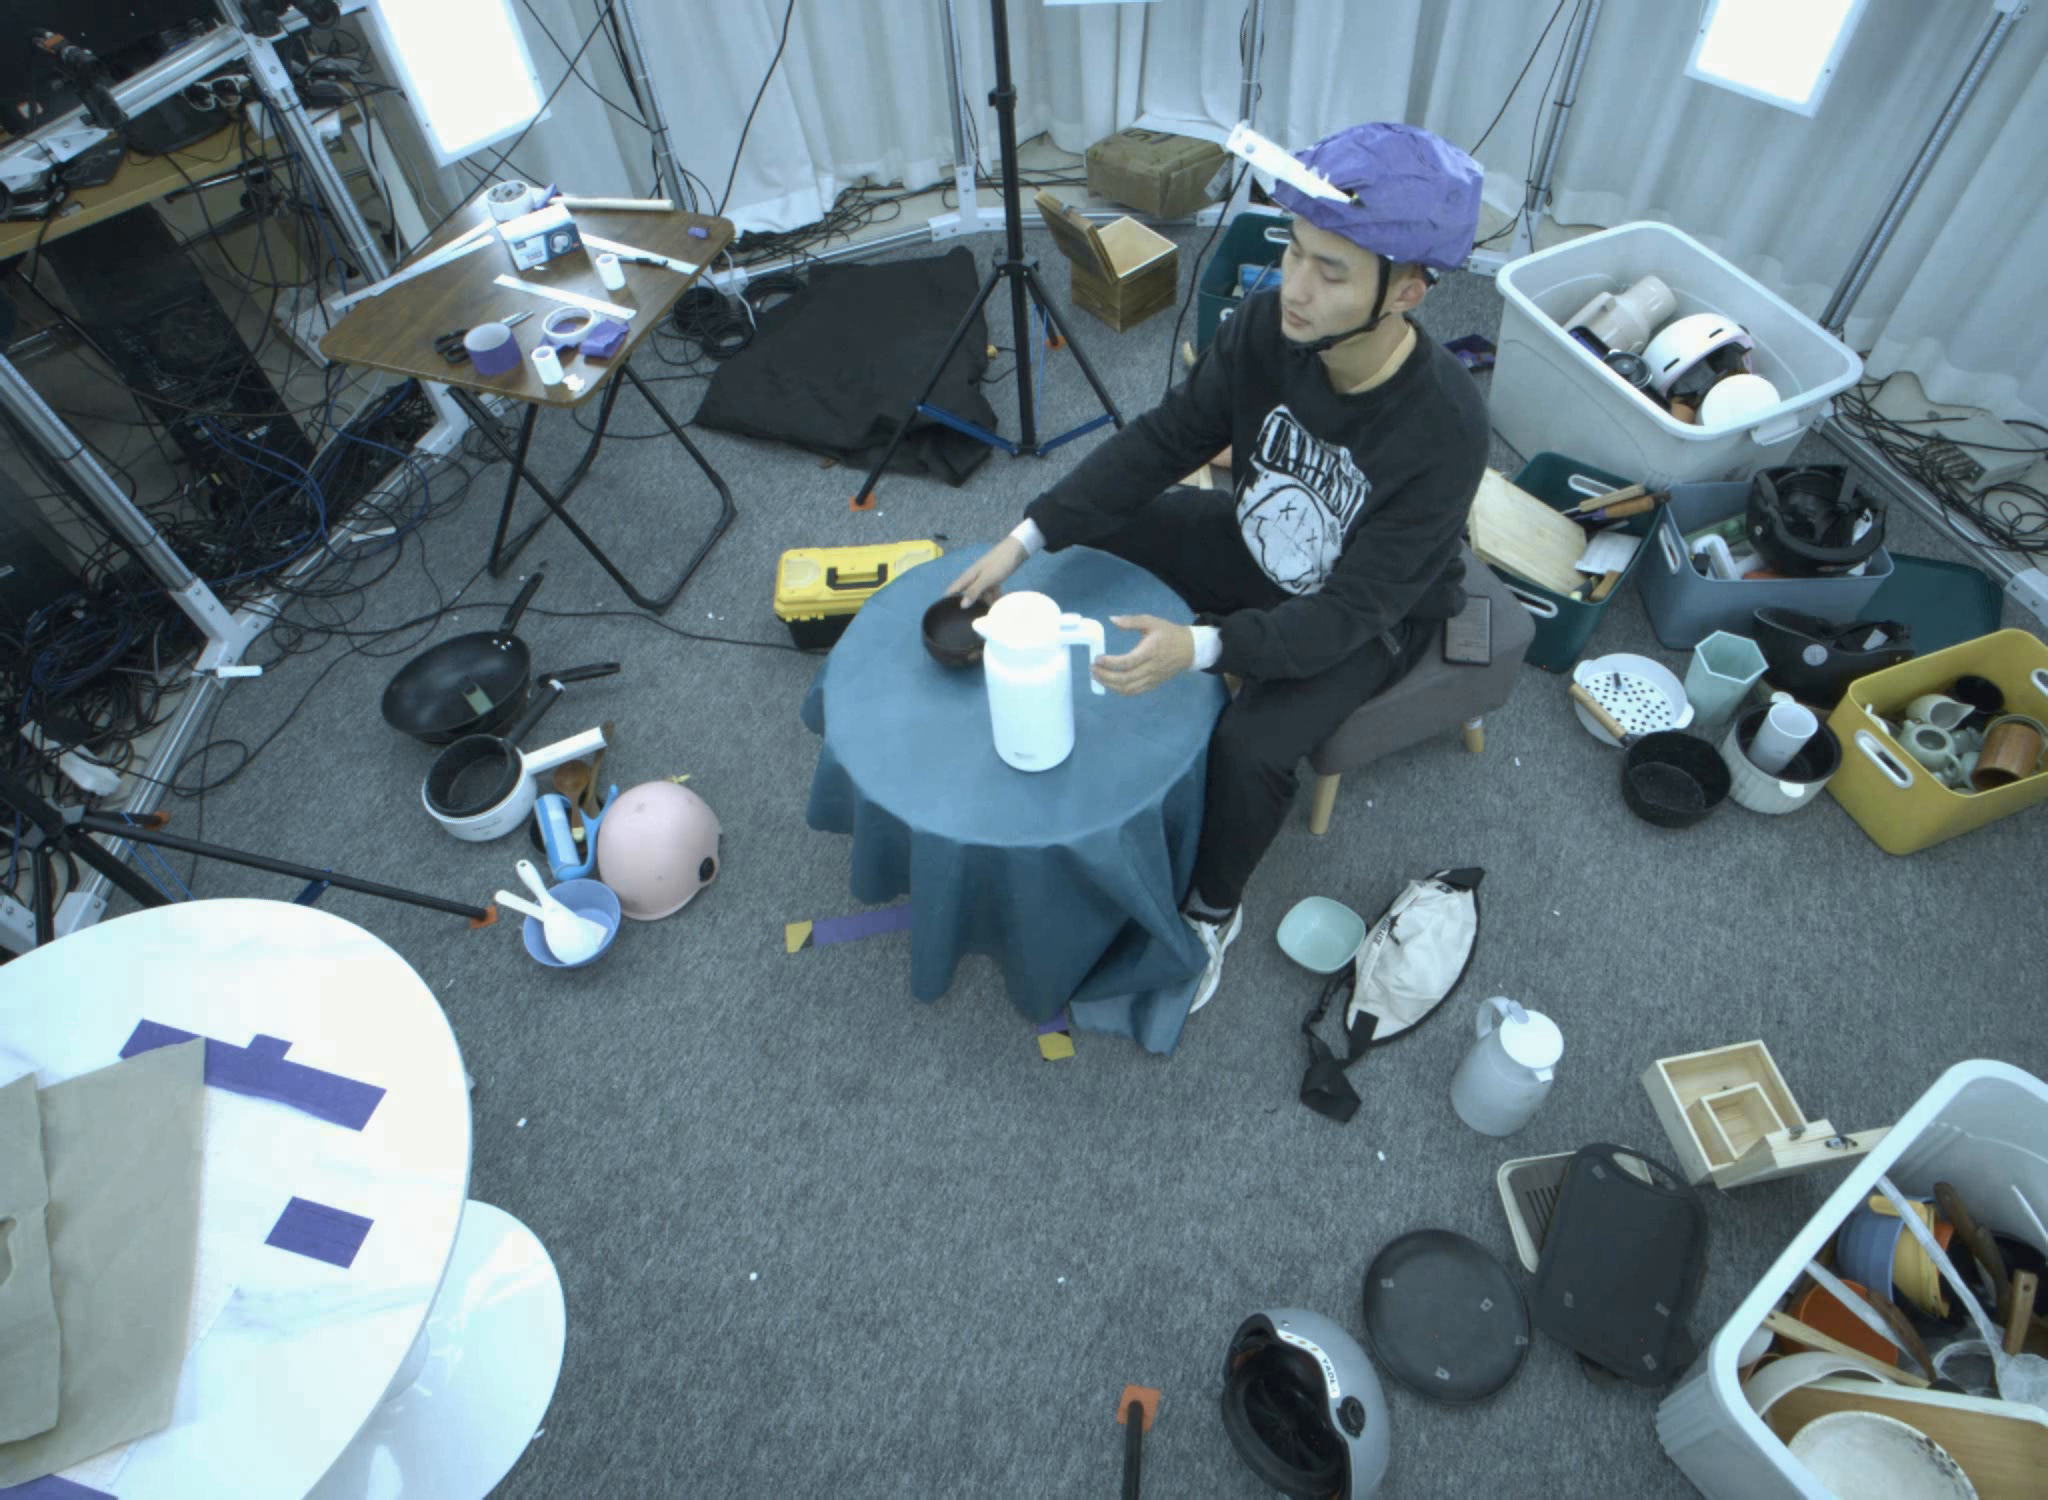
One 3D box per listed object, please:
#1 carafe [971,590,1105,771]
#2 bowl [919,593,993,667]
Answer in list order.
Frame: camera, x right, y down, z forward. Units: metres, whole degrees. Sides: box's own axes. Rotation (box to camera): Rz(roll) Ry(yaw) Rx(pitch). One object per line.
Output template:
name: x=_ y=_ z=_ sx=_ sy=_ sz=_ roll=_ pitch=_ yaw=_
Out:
carafe: x=0.025 y=-0.093 z=1.684 sx=0.173 sy=0.272 sz=0.122 roll=-2 pitch=52 yaw=2
bowl: x=-0.098 y=-0.175 z=1.866 sx=0.118 sy=0.070 sz=0.117 roll=0 pitch=54 yaw=2
